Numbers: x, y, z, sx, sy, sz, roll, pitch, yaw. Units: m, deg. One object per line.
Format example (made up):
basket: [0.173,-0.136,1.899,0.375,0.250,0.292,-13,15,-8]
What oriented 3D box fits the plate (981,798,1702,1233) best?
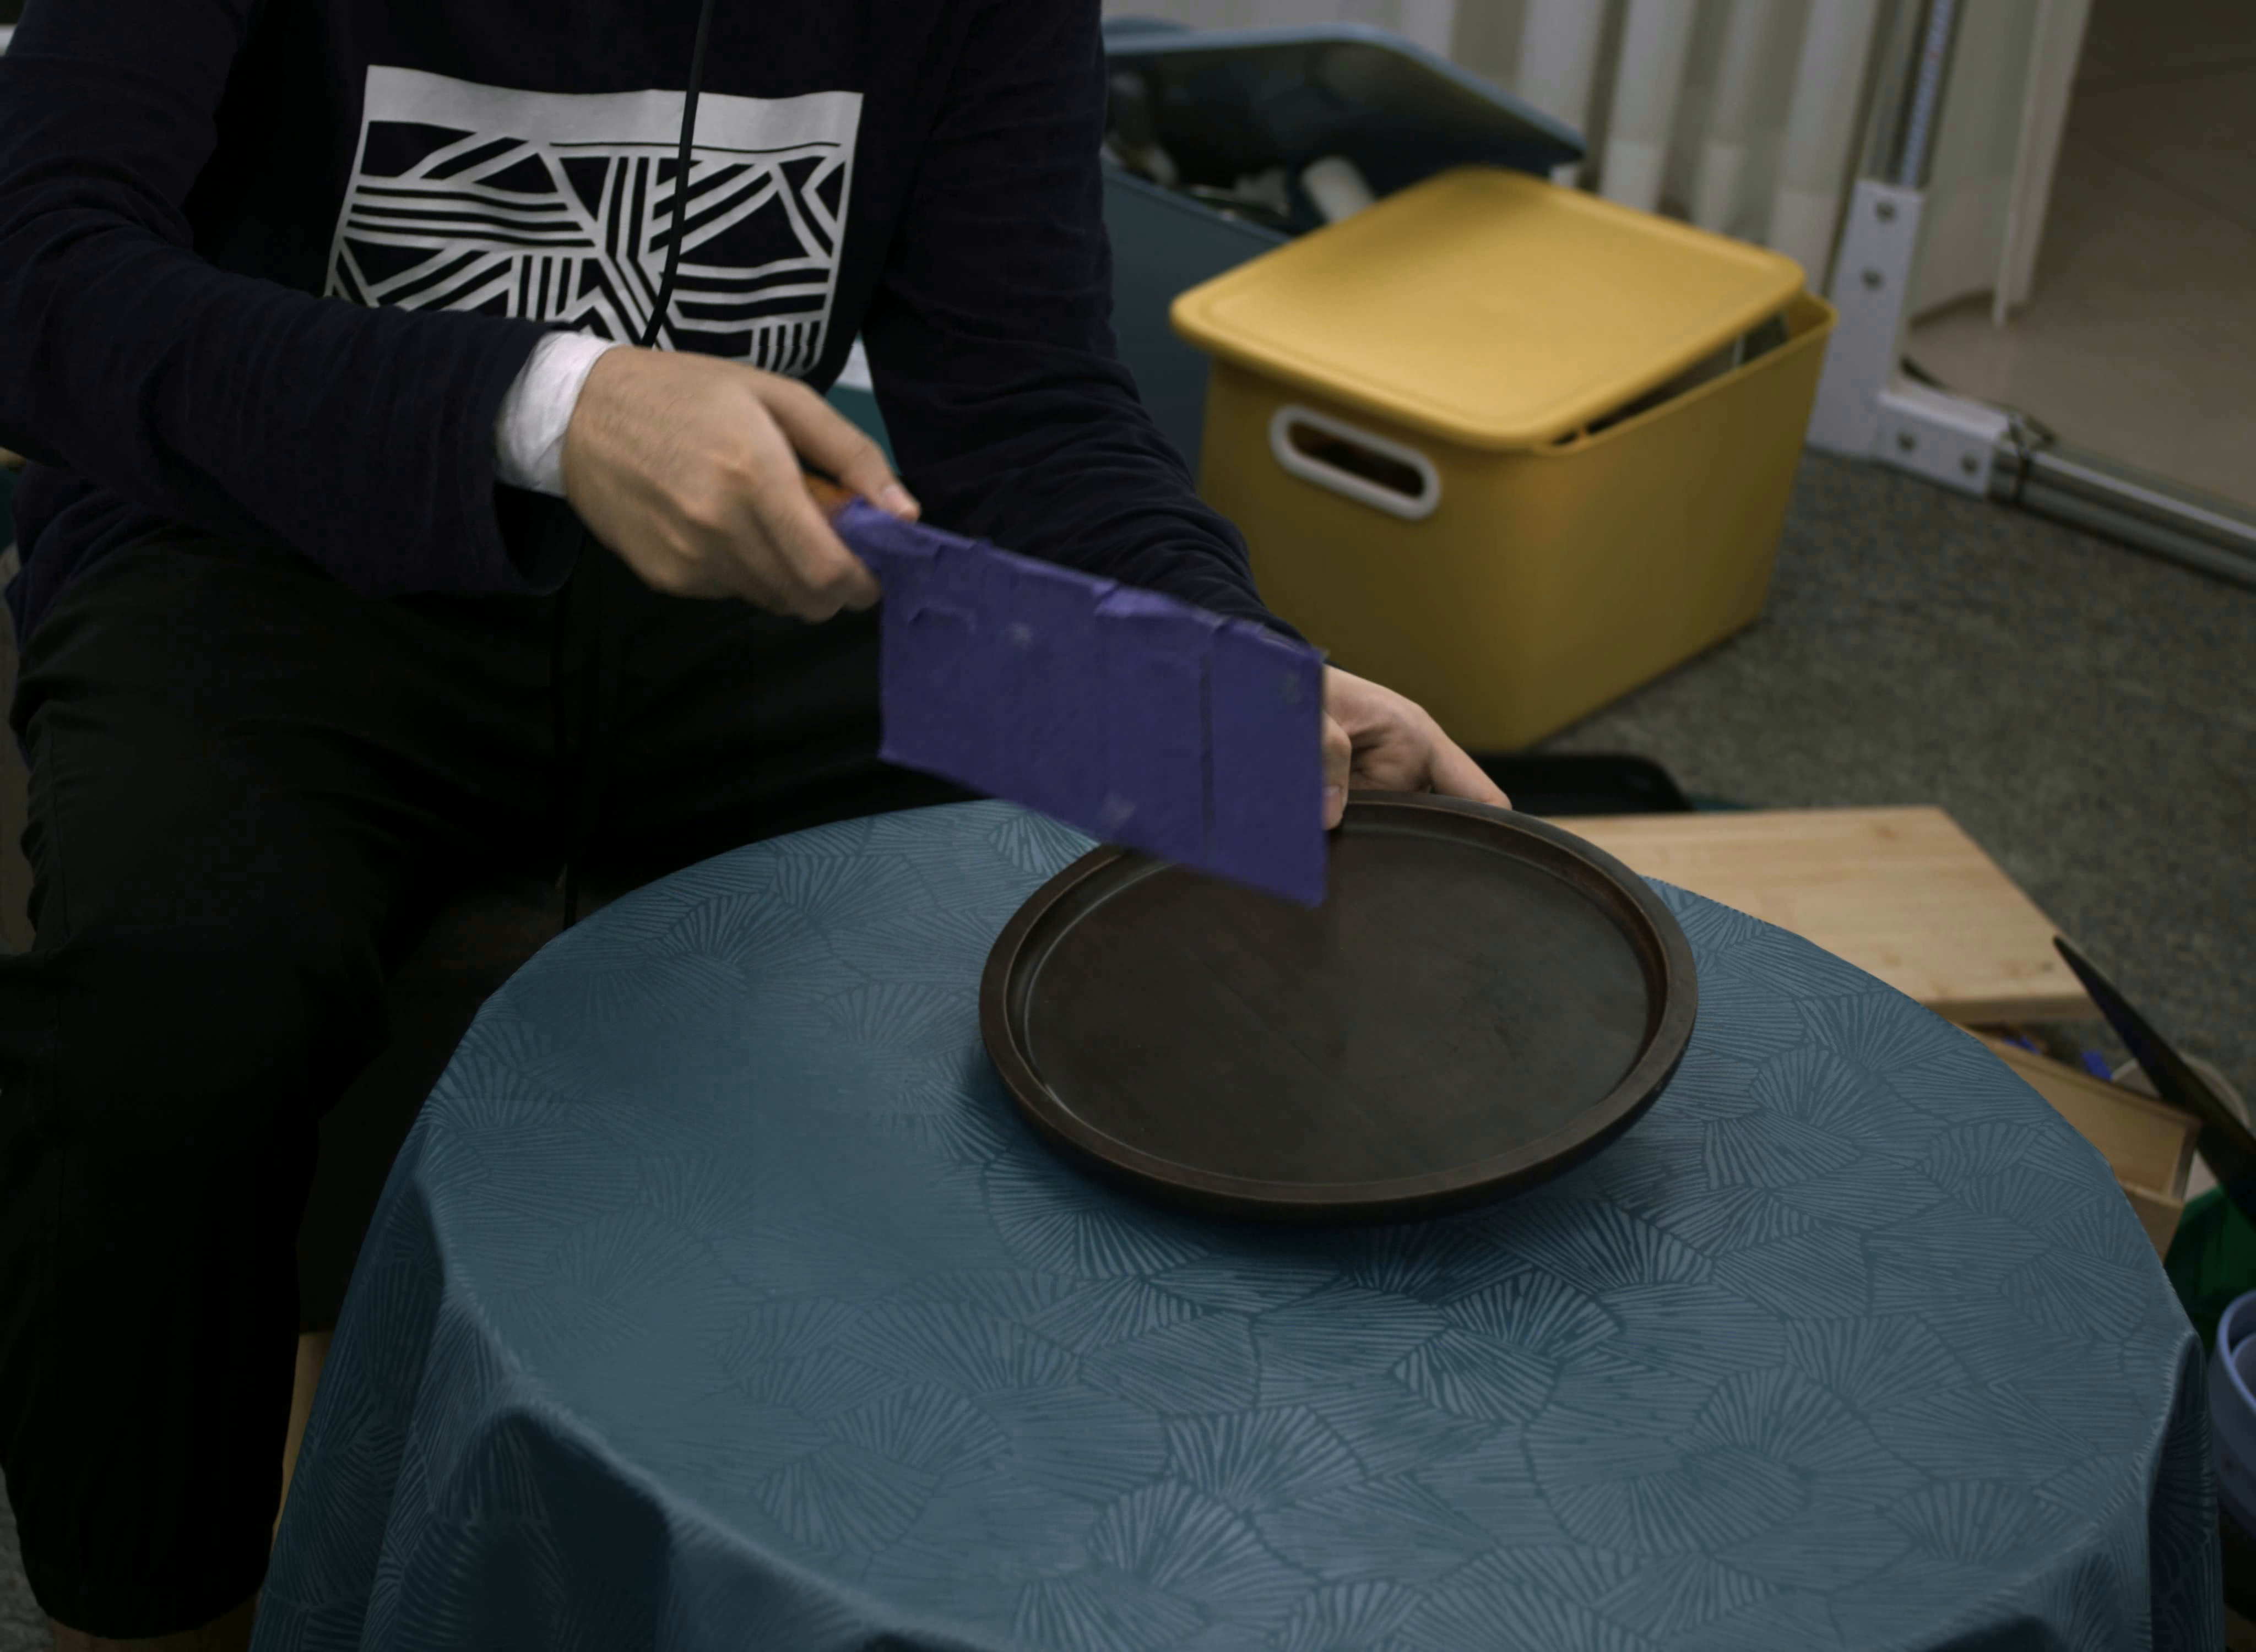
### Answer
plate: [0.074,0.064,1.869,0.254,0.029,0.256,-2,33,1]

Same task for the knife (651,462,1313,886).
knife: [-0.054,-0.051,1.811,0.032,0.103,0.317,-16,25,-40]
